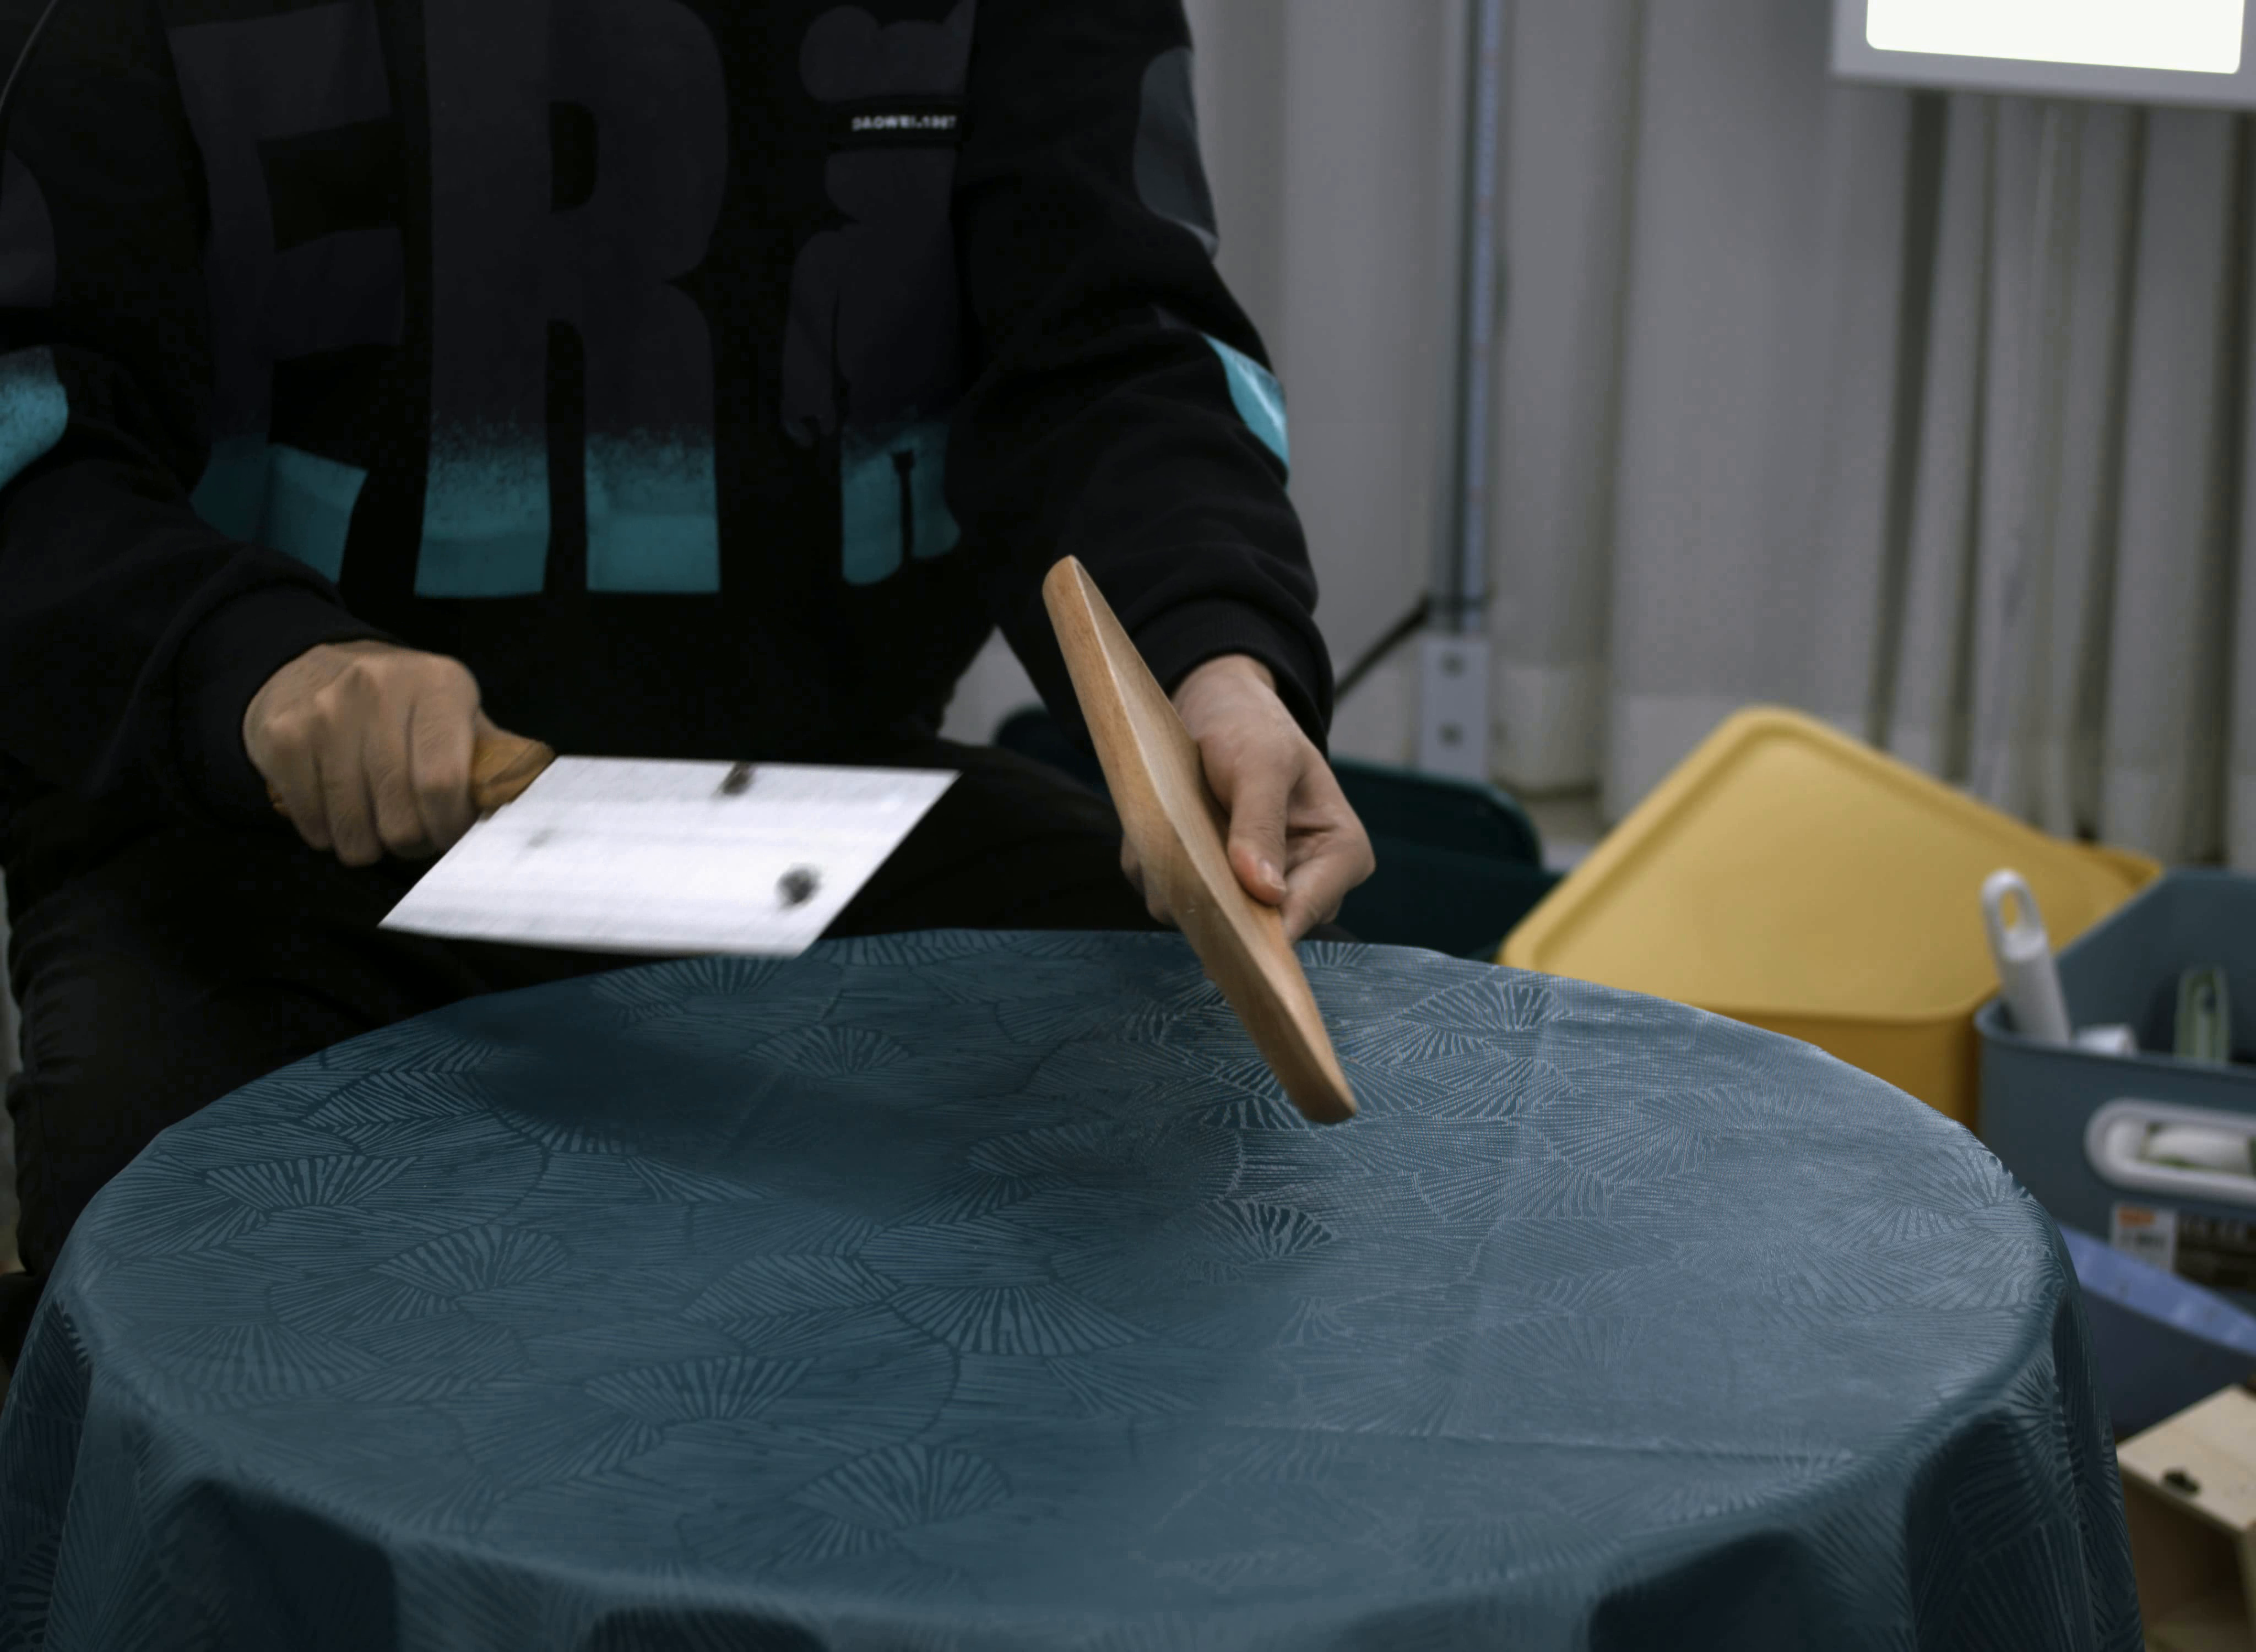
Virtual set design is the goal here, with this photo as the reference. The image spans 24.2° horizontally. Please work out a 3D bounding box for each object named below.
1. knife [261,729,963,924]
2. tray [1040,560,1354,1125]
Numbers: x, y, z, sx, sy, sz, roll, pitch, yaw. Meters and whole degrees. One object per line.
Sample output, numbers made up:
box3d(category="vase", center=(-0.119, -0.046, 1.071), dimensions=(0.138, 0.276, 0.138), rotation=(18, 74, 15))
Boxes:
box3d(category="knife", center=(-0.187, 0.002, 1.720), dimensions=(0.302, 0.021, 0.093), rotation=(2, 39, 38))
box3d(category="tray", center=(0.018, 0.003, 1.666), dimensions=(0.023, 0.132, 0.248), rotation=(-28, 22, 3))
